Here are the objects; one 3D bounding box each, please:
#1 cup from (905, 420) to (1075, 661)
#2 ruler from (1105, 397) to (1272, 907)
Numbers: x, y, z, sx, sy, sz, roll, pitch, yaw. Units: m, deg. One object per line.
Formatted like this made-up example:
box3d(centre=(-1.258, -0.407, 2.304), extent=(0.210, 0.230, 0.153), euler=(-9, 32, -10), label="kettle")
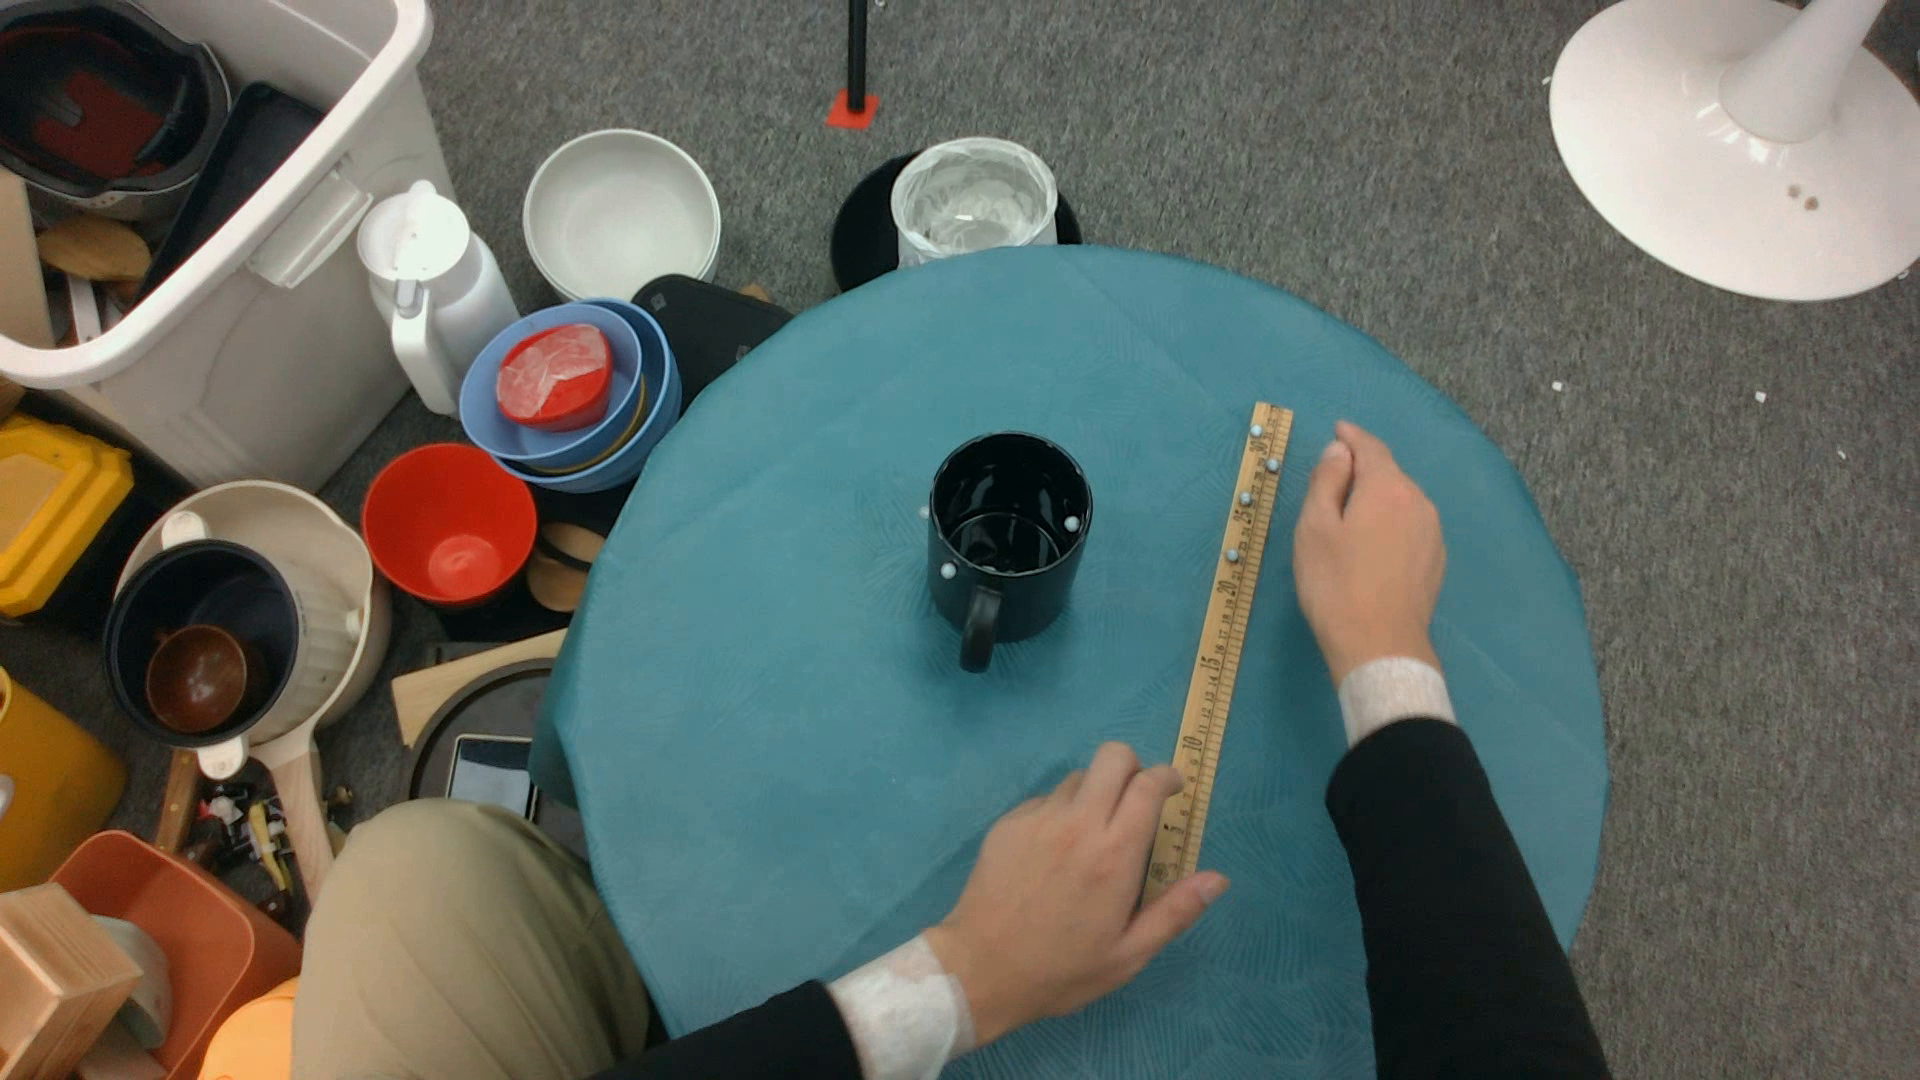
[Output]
box3d(centre=(0.010, 0.009, 0.772), extent=(0.088, 0.105, 0.124), euler=(16, 66, 2), label="cup")
box3d(centre=(0.140, 0.051, 0.809), extent=(0.027, 0.022, 0.333), euler=(15, 64, 8), label="ruler")
